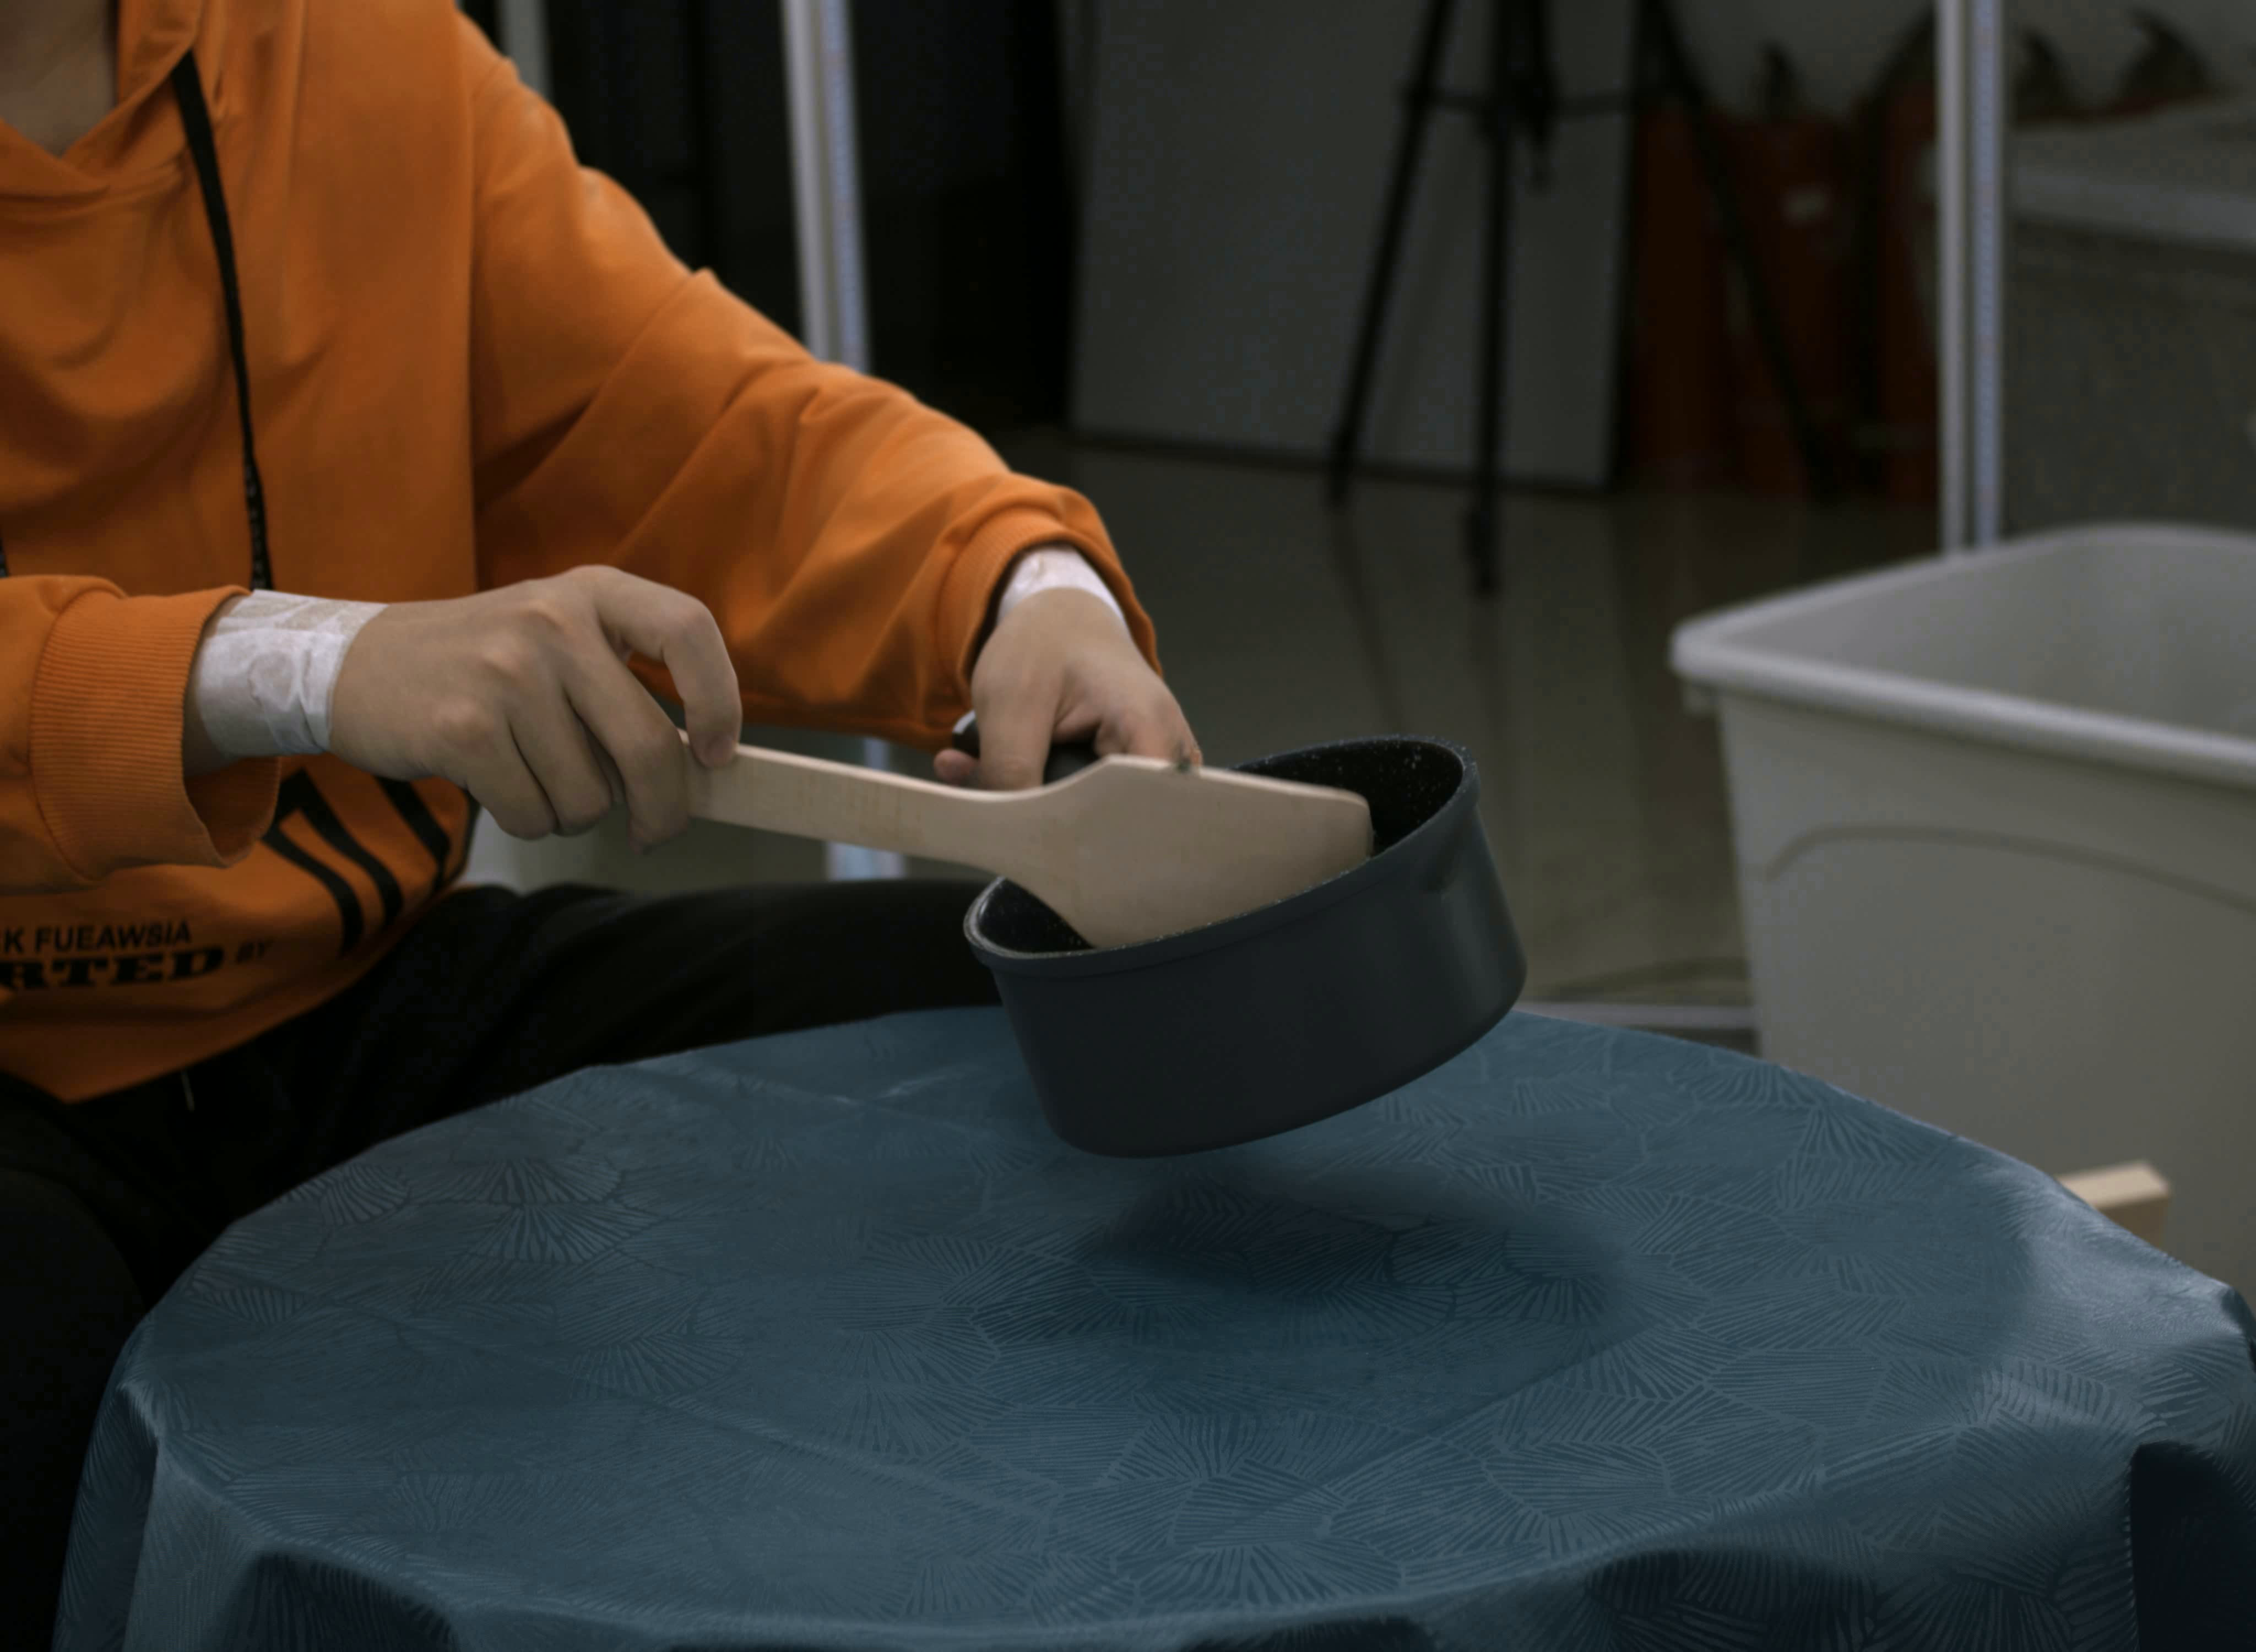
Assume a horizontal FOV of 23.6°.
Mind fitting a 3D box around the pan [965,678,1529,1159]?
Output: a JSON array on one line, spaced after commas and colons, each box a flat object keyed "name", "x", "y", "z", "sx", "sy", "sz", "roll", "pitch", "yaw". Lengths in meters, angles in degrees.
[{"name": "pan", "x": 0.017, "y": 0.021, "z": 1.777, "sx": 0.169, "sy": 0.087, "sz": 0.331, "roll": -22, "pitch": 16, "yaw": -11}]

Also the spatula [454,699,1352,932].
[{"name": "spatula", "x": -0.073, "y": -0.008, "z": 1.695, "sx": 0.291, "sy": 0.073, "sz": 0.010, "roll": 9, "pitch": 28, "yaw": 11}]
